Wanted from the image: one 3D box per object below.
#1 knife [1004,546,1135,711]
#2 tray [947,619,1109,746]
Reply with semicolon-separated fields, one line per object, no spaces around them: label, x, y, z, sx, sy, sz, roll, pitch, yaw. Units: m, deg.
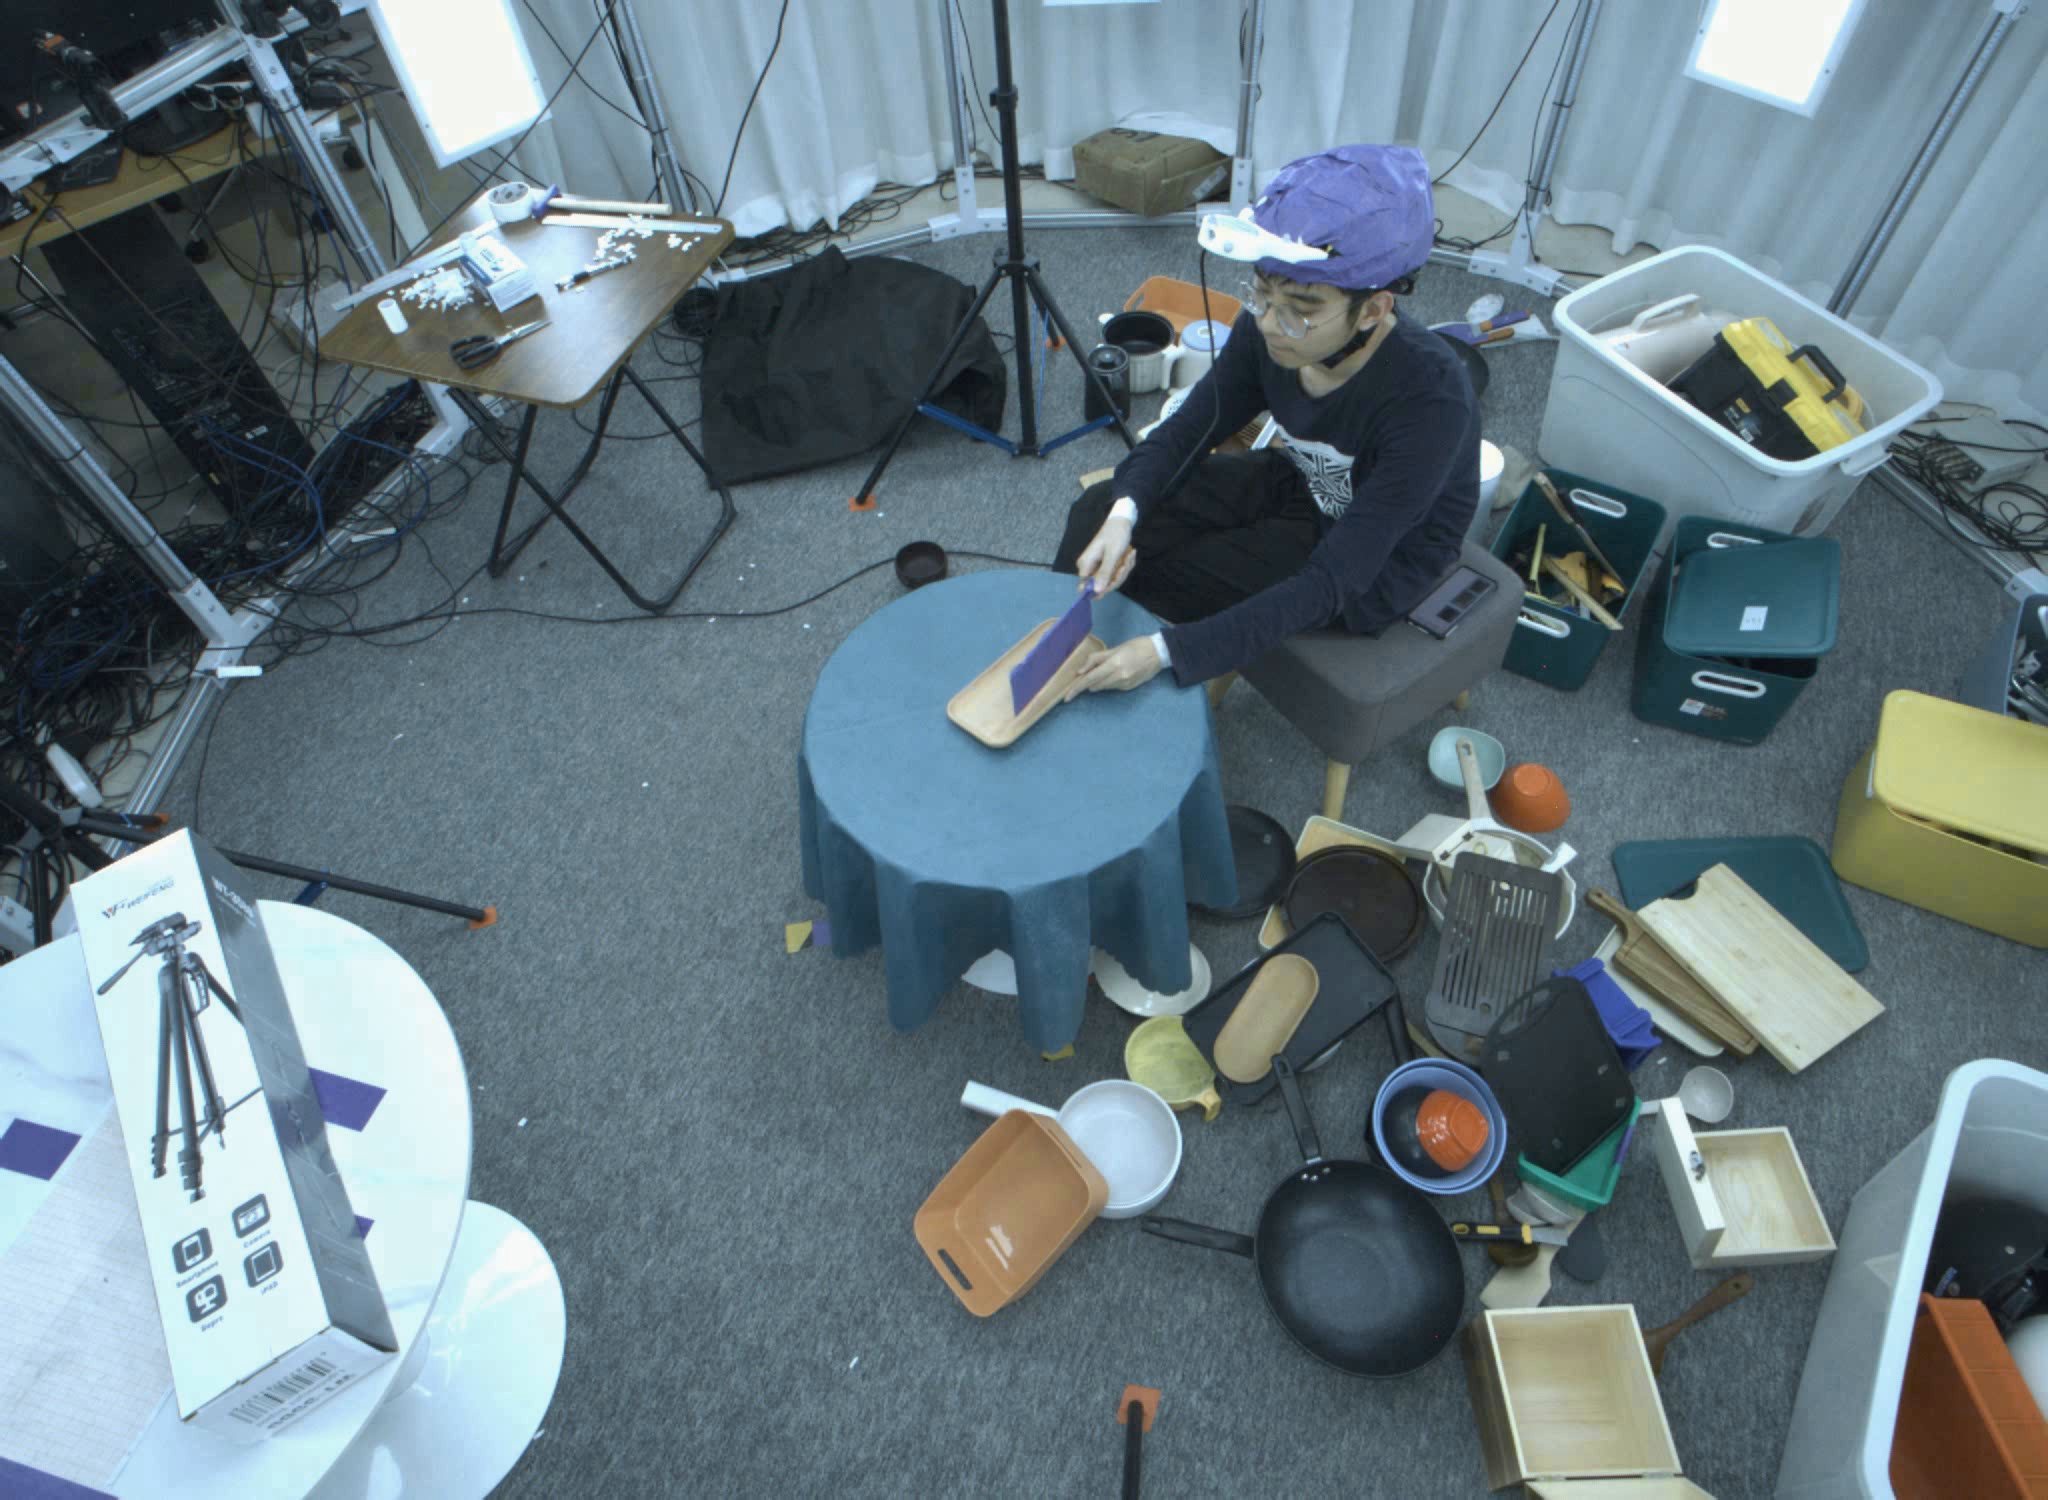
knife;0.067;-0.183;1.833;0.031;0.105;0.317;29;59;24
tray;0.007;-0.103;1.848;0.252;0.023;0.128;-39;59;-22
